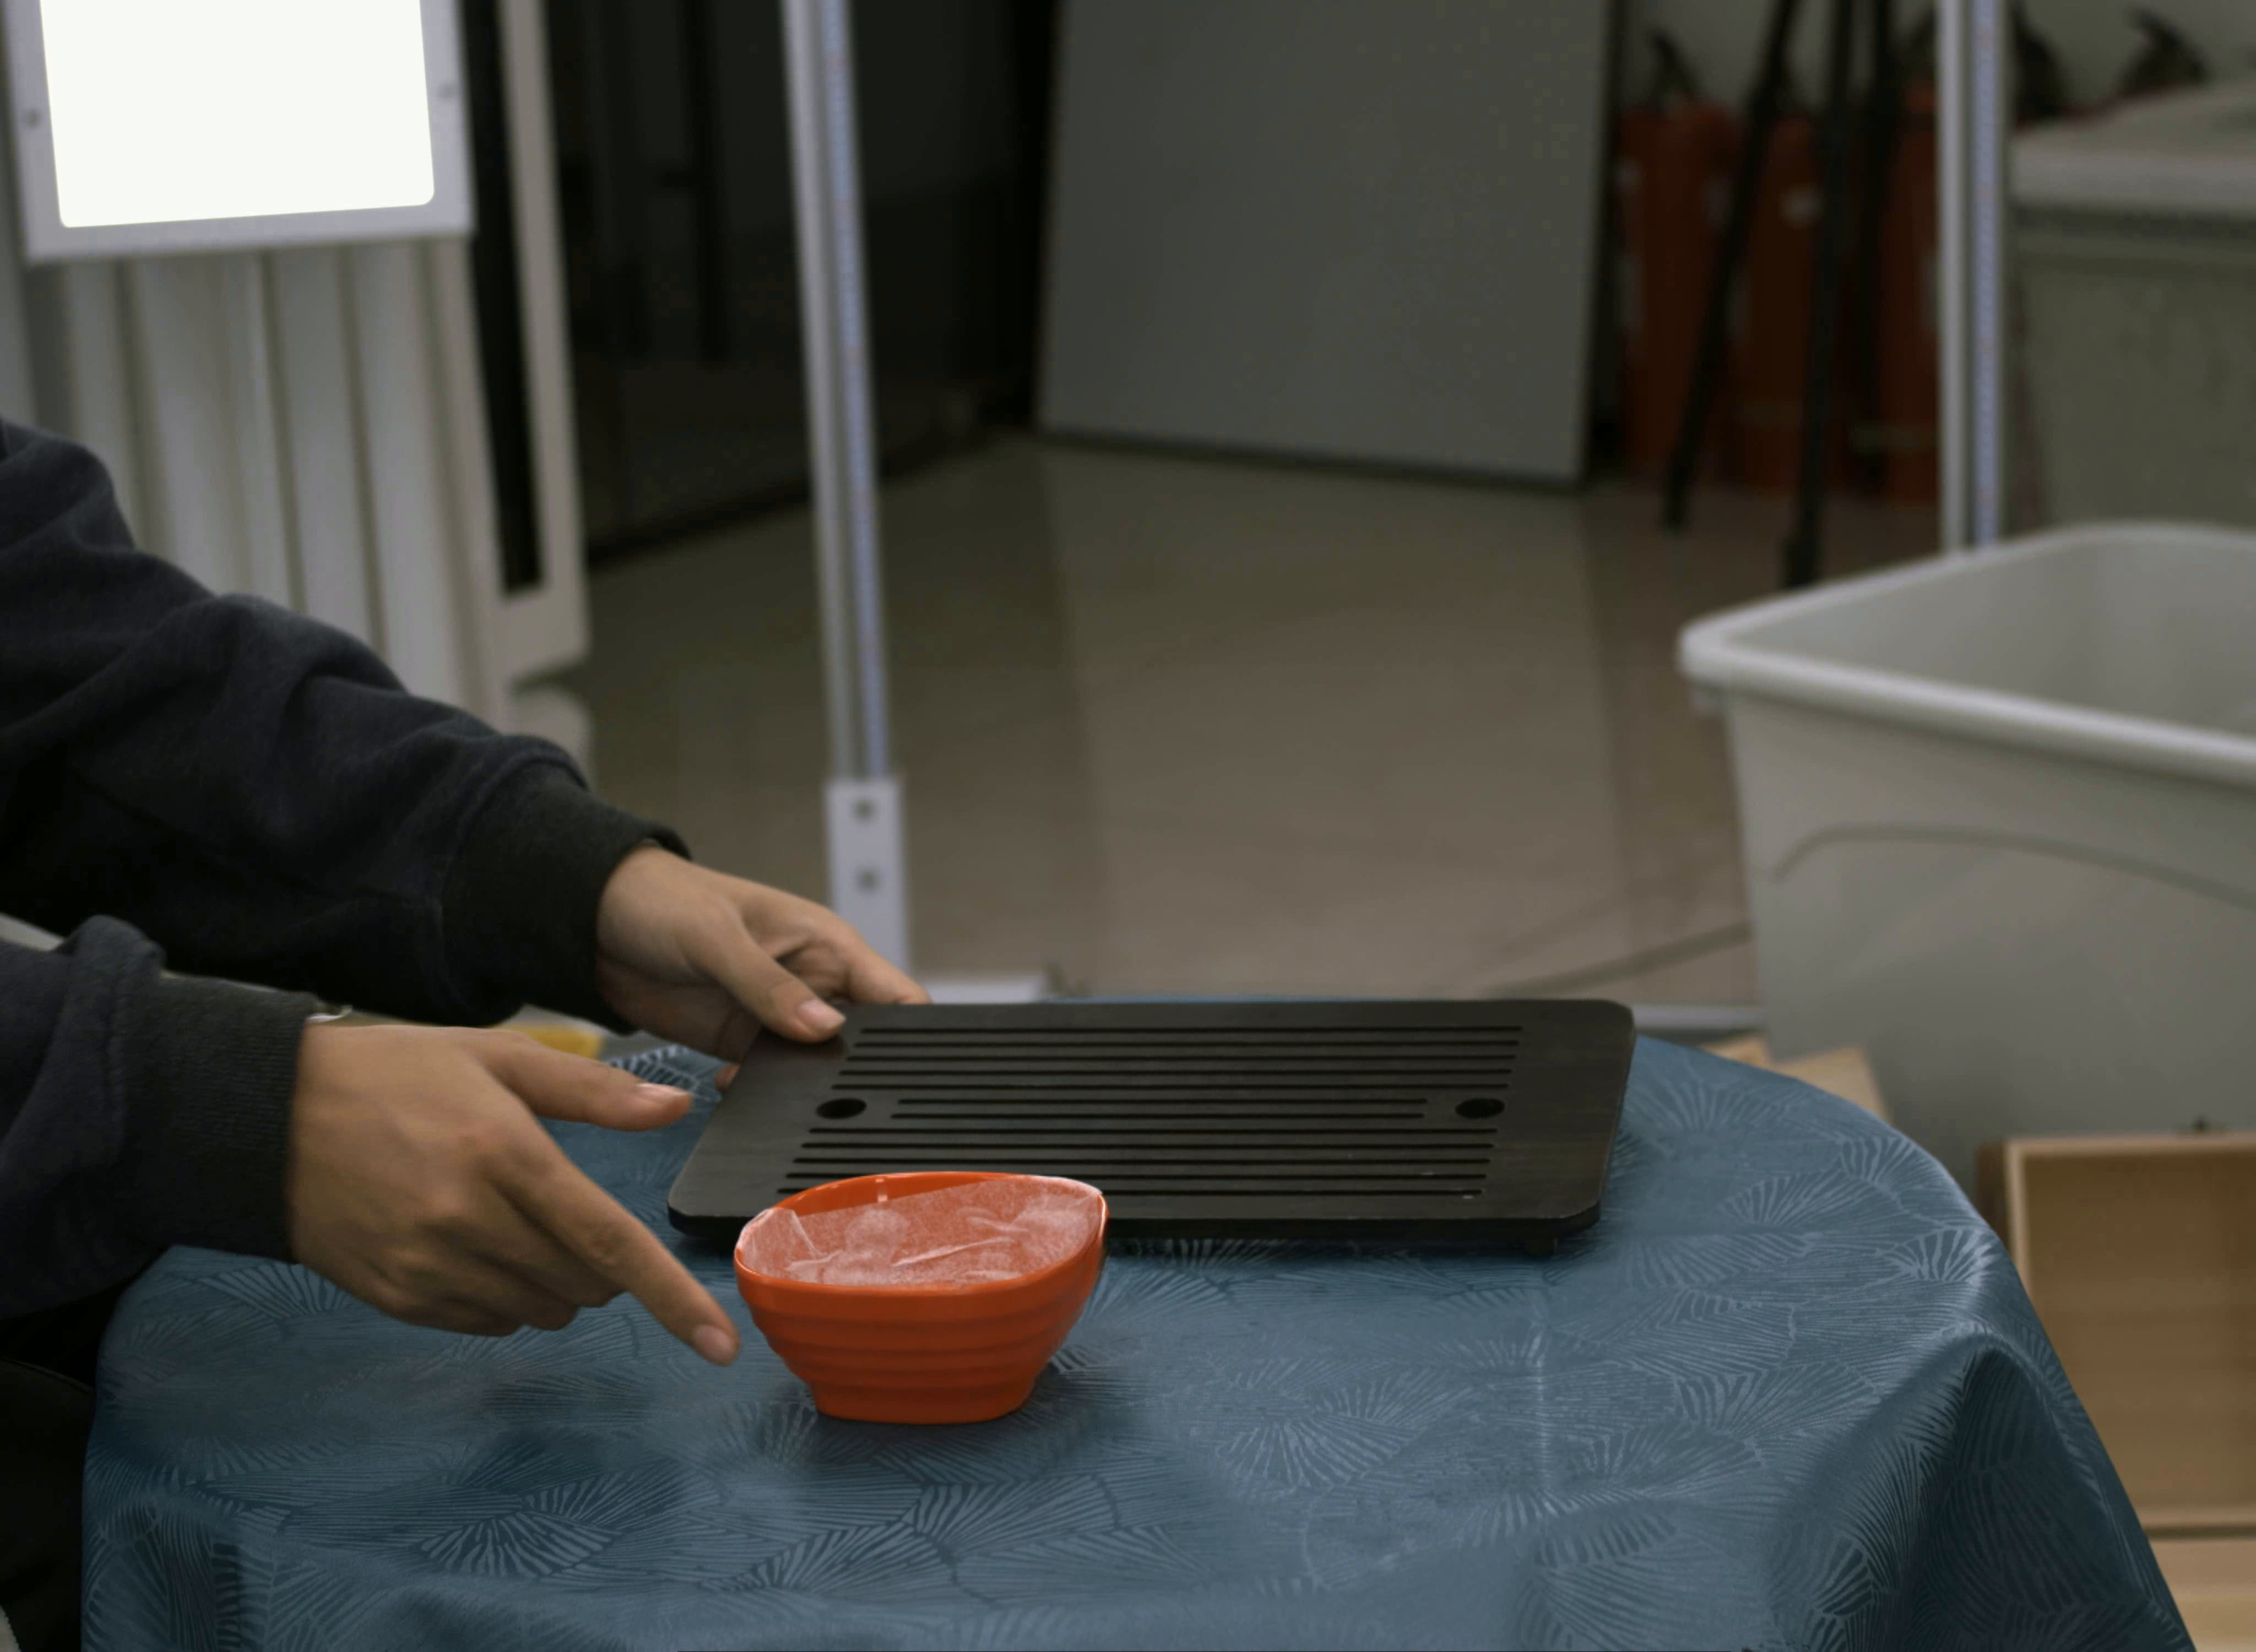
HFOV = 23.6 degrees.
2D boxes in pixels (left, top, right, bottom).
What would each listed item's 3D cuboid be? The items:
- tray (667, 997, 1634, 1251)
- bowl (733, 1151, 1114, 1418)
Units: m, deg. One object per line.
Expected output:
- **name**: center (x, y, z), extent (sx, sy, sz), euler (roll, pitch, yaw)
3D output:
- **tray**: center (0.011, 0.099, 1.777), extent (0.304, 0.019, 0.169), euler (-1, 21, 12)
- **bowl**: center (-0.060, 0.138, 1.594), extent (0.117, 0.052, 0.119), euler (0, 16, -1)
